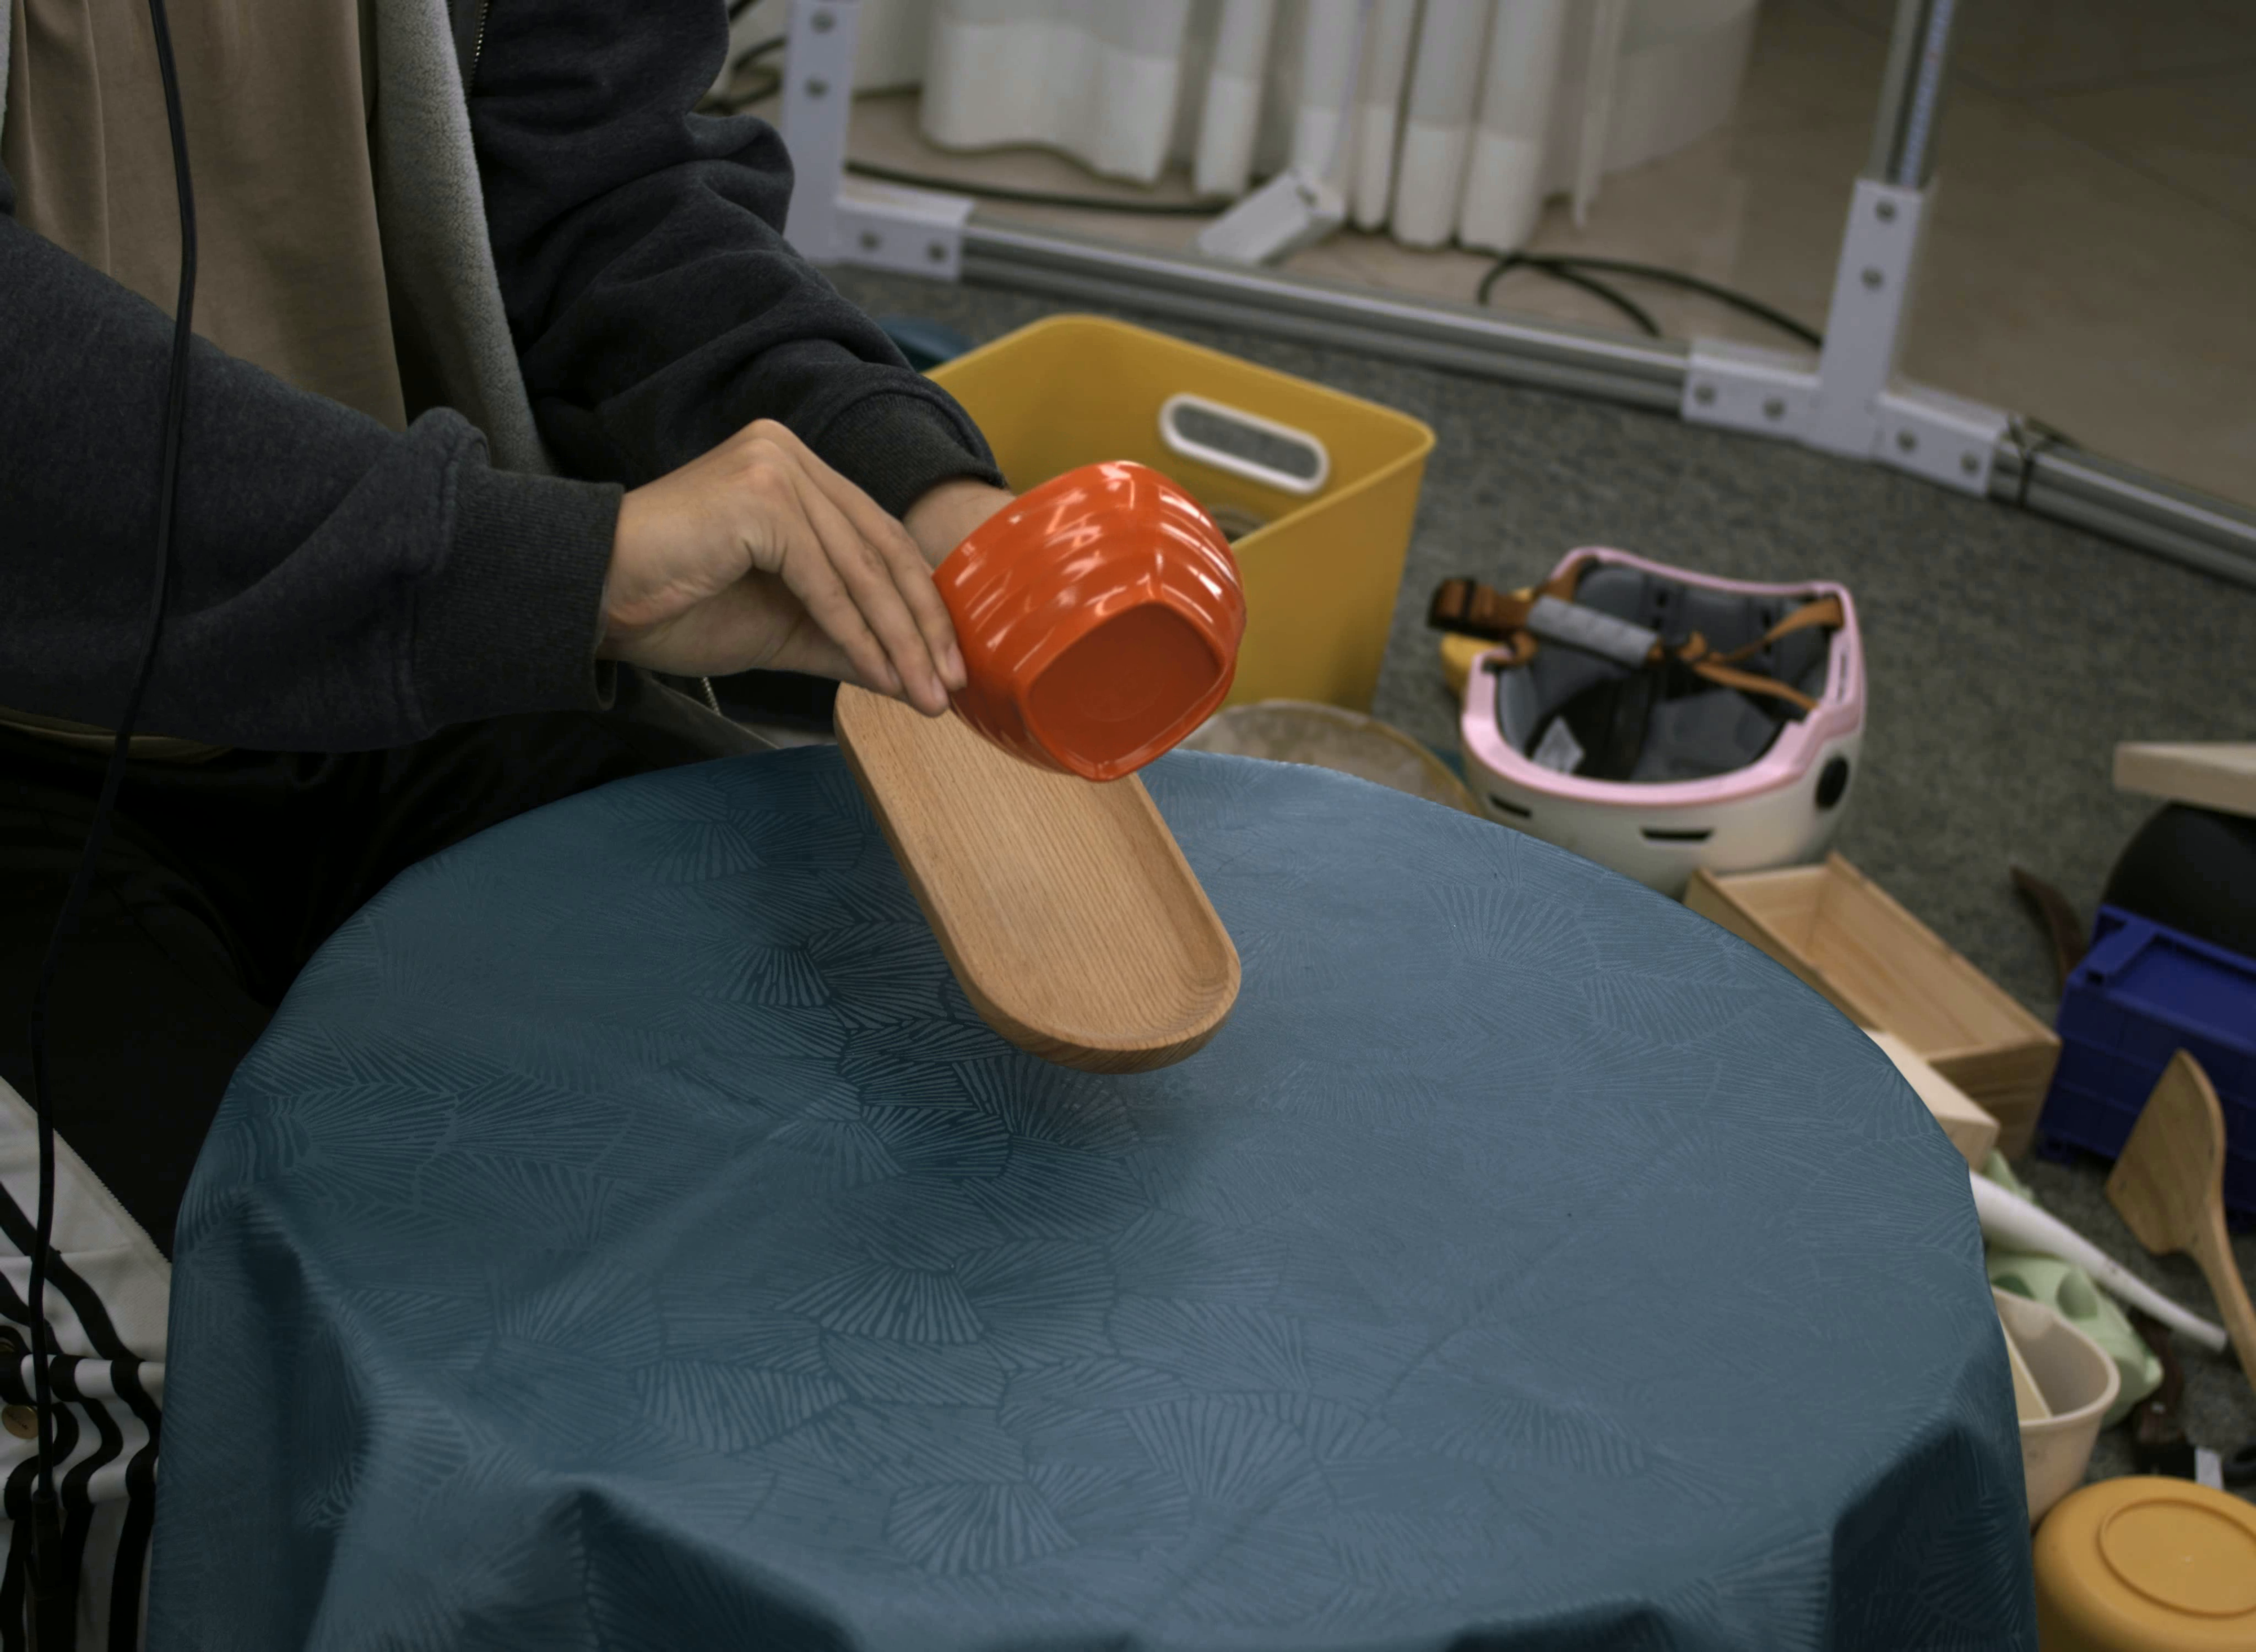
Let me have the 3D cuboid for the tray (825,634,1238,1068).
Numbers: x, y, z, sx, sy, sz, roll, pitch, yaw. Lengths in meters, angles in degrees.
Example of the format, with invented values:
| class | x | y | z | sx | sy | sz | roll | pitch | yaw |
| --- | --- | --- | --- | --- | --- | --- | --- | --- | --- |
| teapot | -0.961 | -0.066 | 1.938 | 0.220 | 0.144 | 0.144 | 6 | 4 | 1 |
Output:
| class | x | y | z | sx | sy | sz | roll | pitch | yaw |
| --- | --- | --- | --- | --- | --- | --- | --- | --- | --- |
| tray | -0.036 | 0.006 | 1.888 | 0.101 | 0.020 | 0.233 | -5 | 40 | -23 |

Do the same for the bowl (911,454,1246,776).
| class | x | y | z | sx | sy | sz | roll | pitch | yaw |
| --- | --- | --- | --- | --- | --- | --- | --- | --- | --- |
| bowl | -0.009 | -0.061 | 1.770 | 0.118 | 0.118 | 0.052 | -5 | 41 | -23 |
